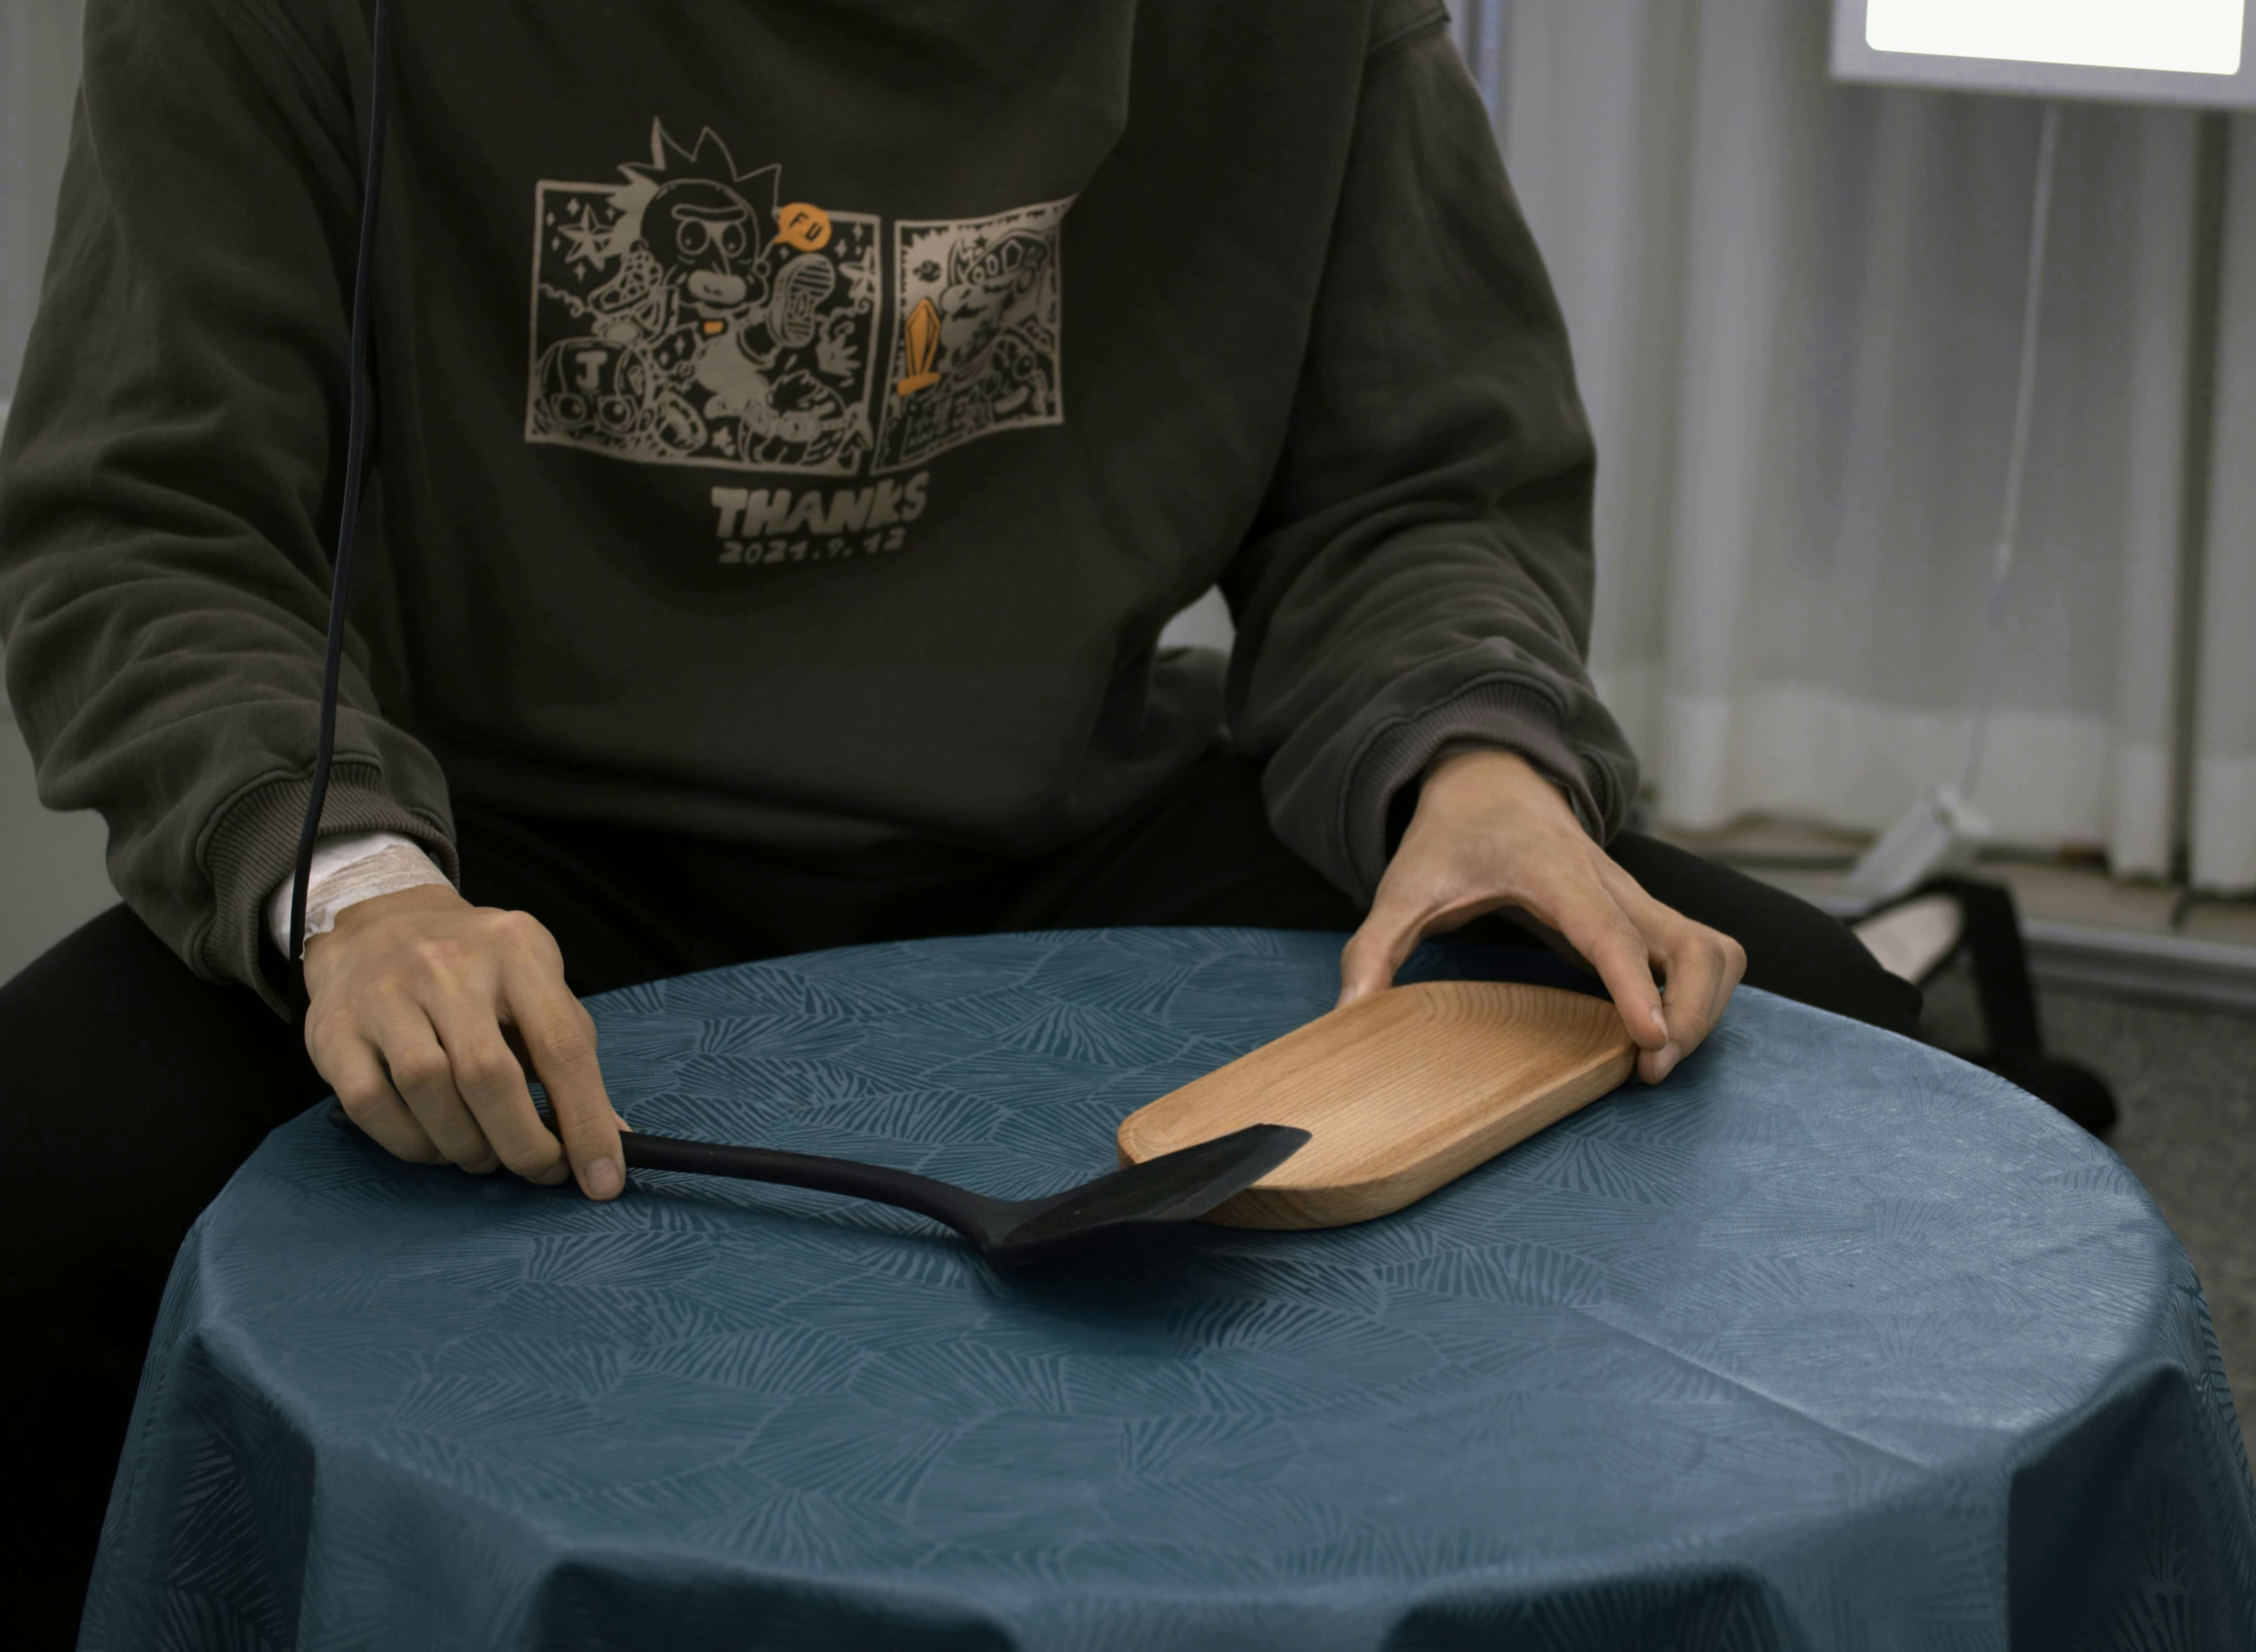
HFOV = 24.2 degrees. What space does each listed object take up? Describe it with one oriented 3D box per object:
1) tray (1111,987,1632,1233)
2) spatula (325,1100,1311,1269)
[{"bbox_3d":[0.080,0.089,1.688,0.100,0.020,0.232,9,19,31],"label":"tray"},{"bbox_3d":[-0.106,0.099,1.604,0.323,0.040,0.100,8,15,23],"label":"spatula"}]
